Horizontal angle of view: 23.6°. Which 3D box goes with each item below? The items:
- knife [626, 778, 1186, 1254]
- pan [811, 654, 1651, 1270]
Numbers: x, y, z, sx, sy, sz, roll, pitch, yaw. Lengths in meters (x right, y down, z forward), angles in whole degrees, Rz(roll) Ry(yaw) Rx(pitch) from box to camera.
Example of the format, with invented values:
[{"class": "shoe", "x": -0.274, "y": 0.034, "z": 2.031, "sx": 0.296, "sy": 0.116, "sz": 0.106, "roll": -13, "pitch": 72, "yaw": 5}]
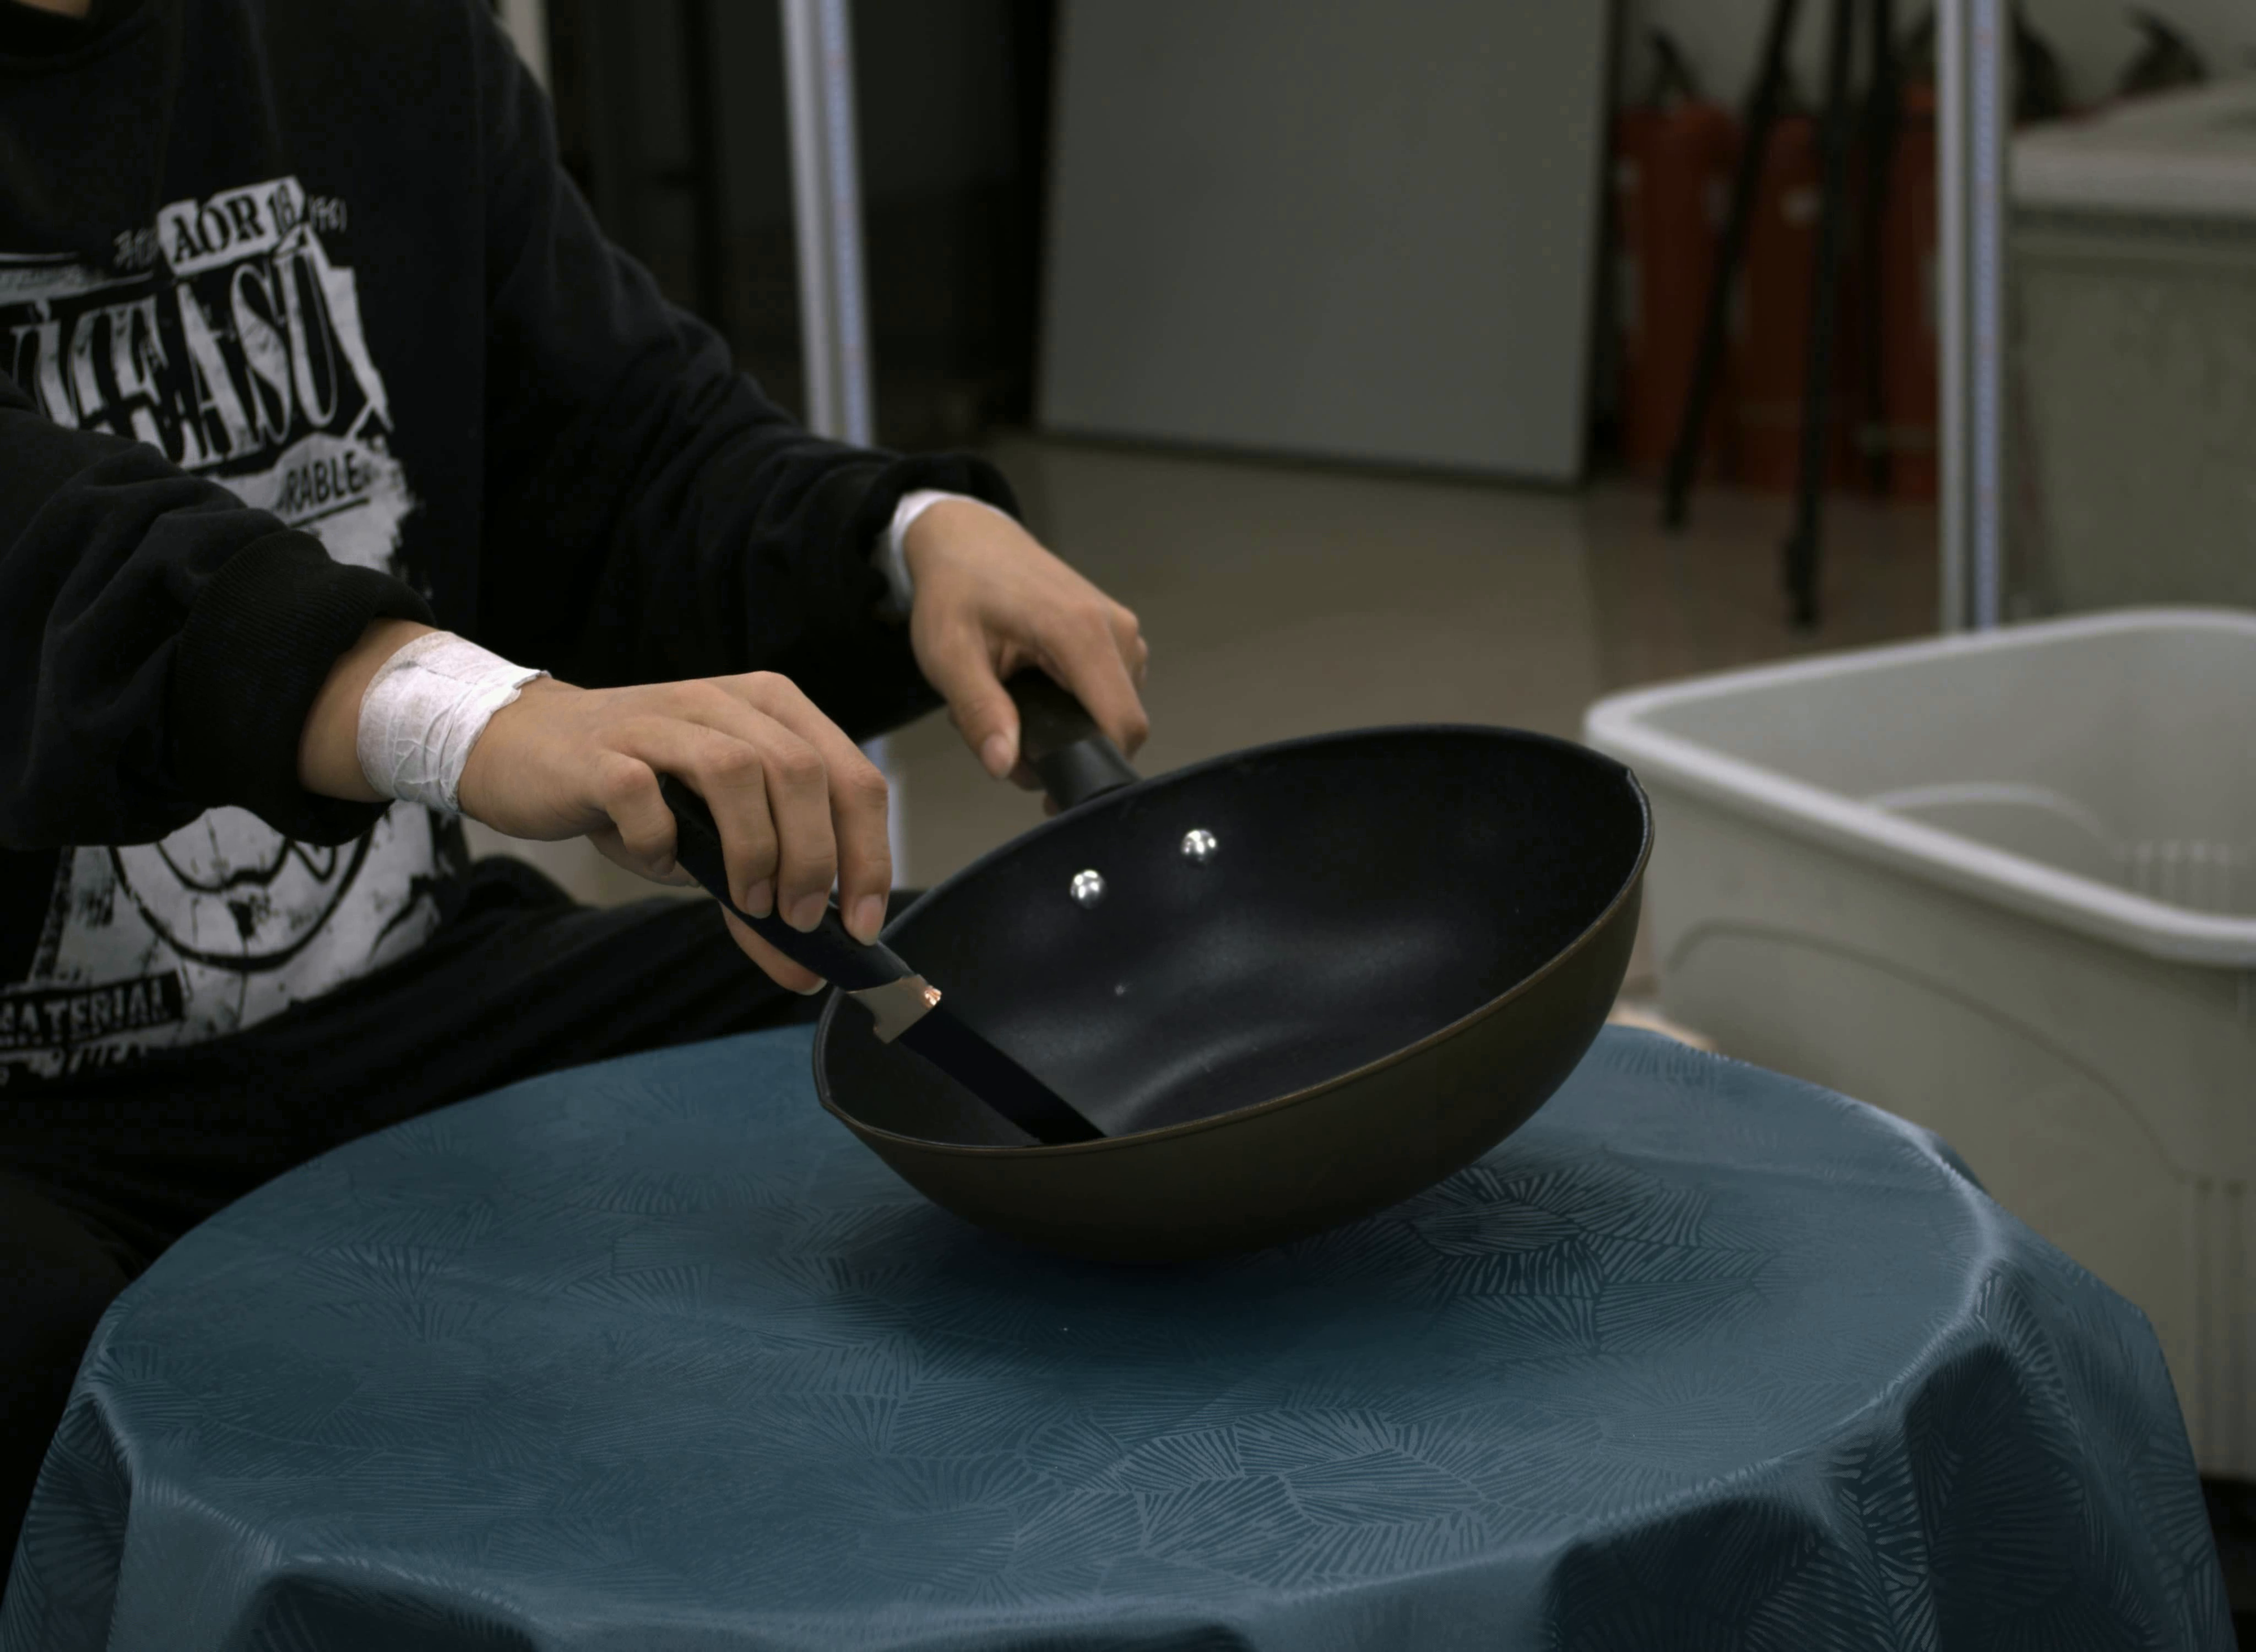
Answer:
[{"class": "knife", "x": -0.062, "y": 0.059, "z": 1.615, "sx": 0.026, "sy": 0.223, "sz": 0.017, "roll": -44, "pitch": 17, "yaw": 25}, {"class": "pan", "x": 0.019, "y": 0.040, "z": 1.823, "sx": 0.284, "sy": 0.087, "sz": 0.467, "roll": -22, "pitch": 21, "yaw": -8}]
